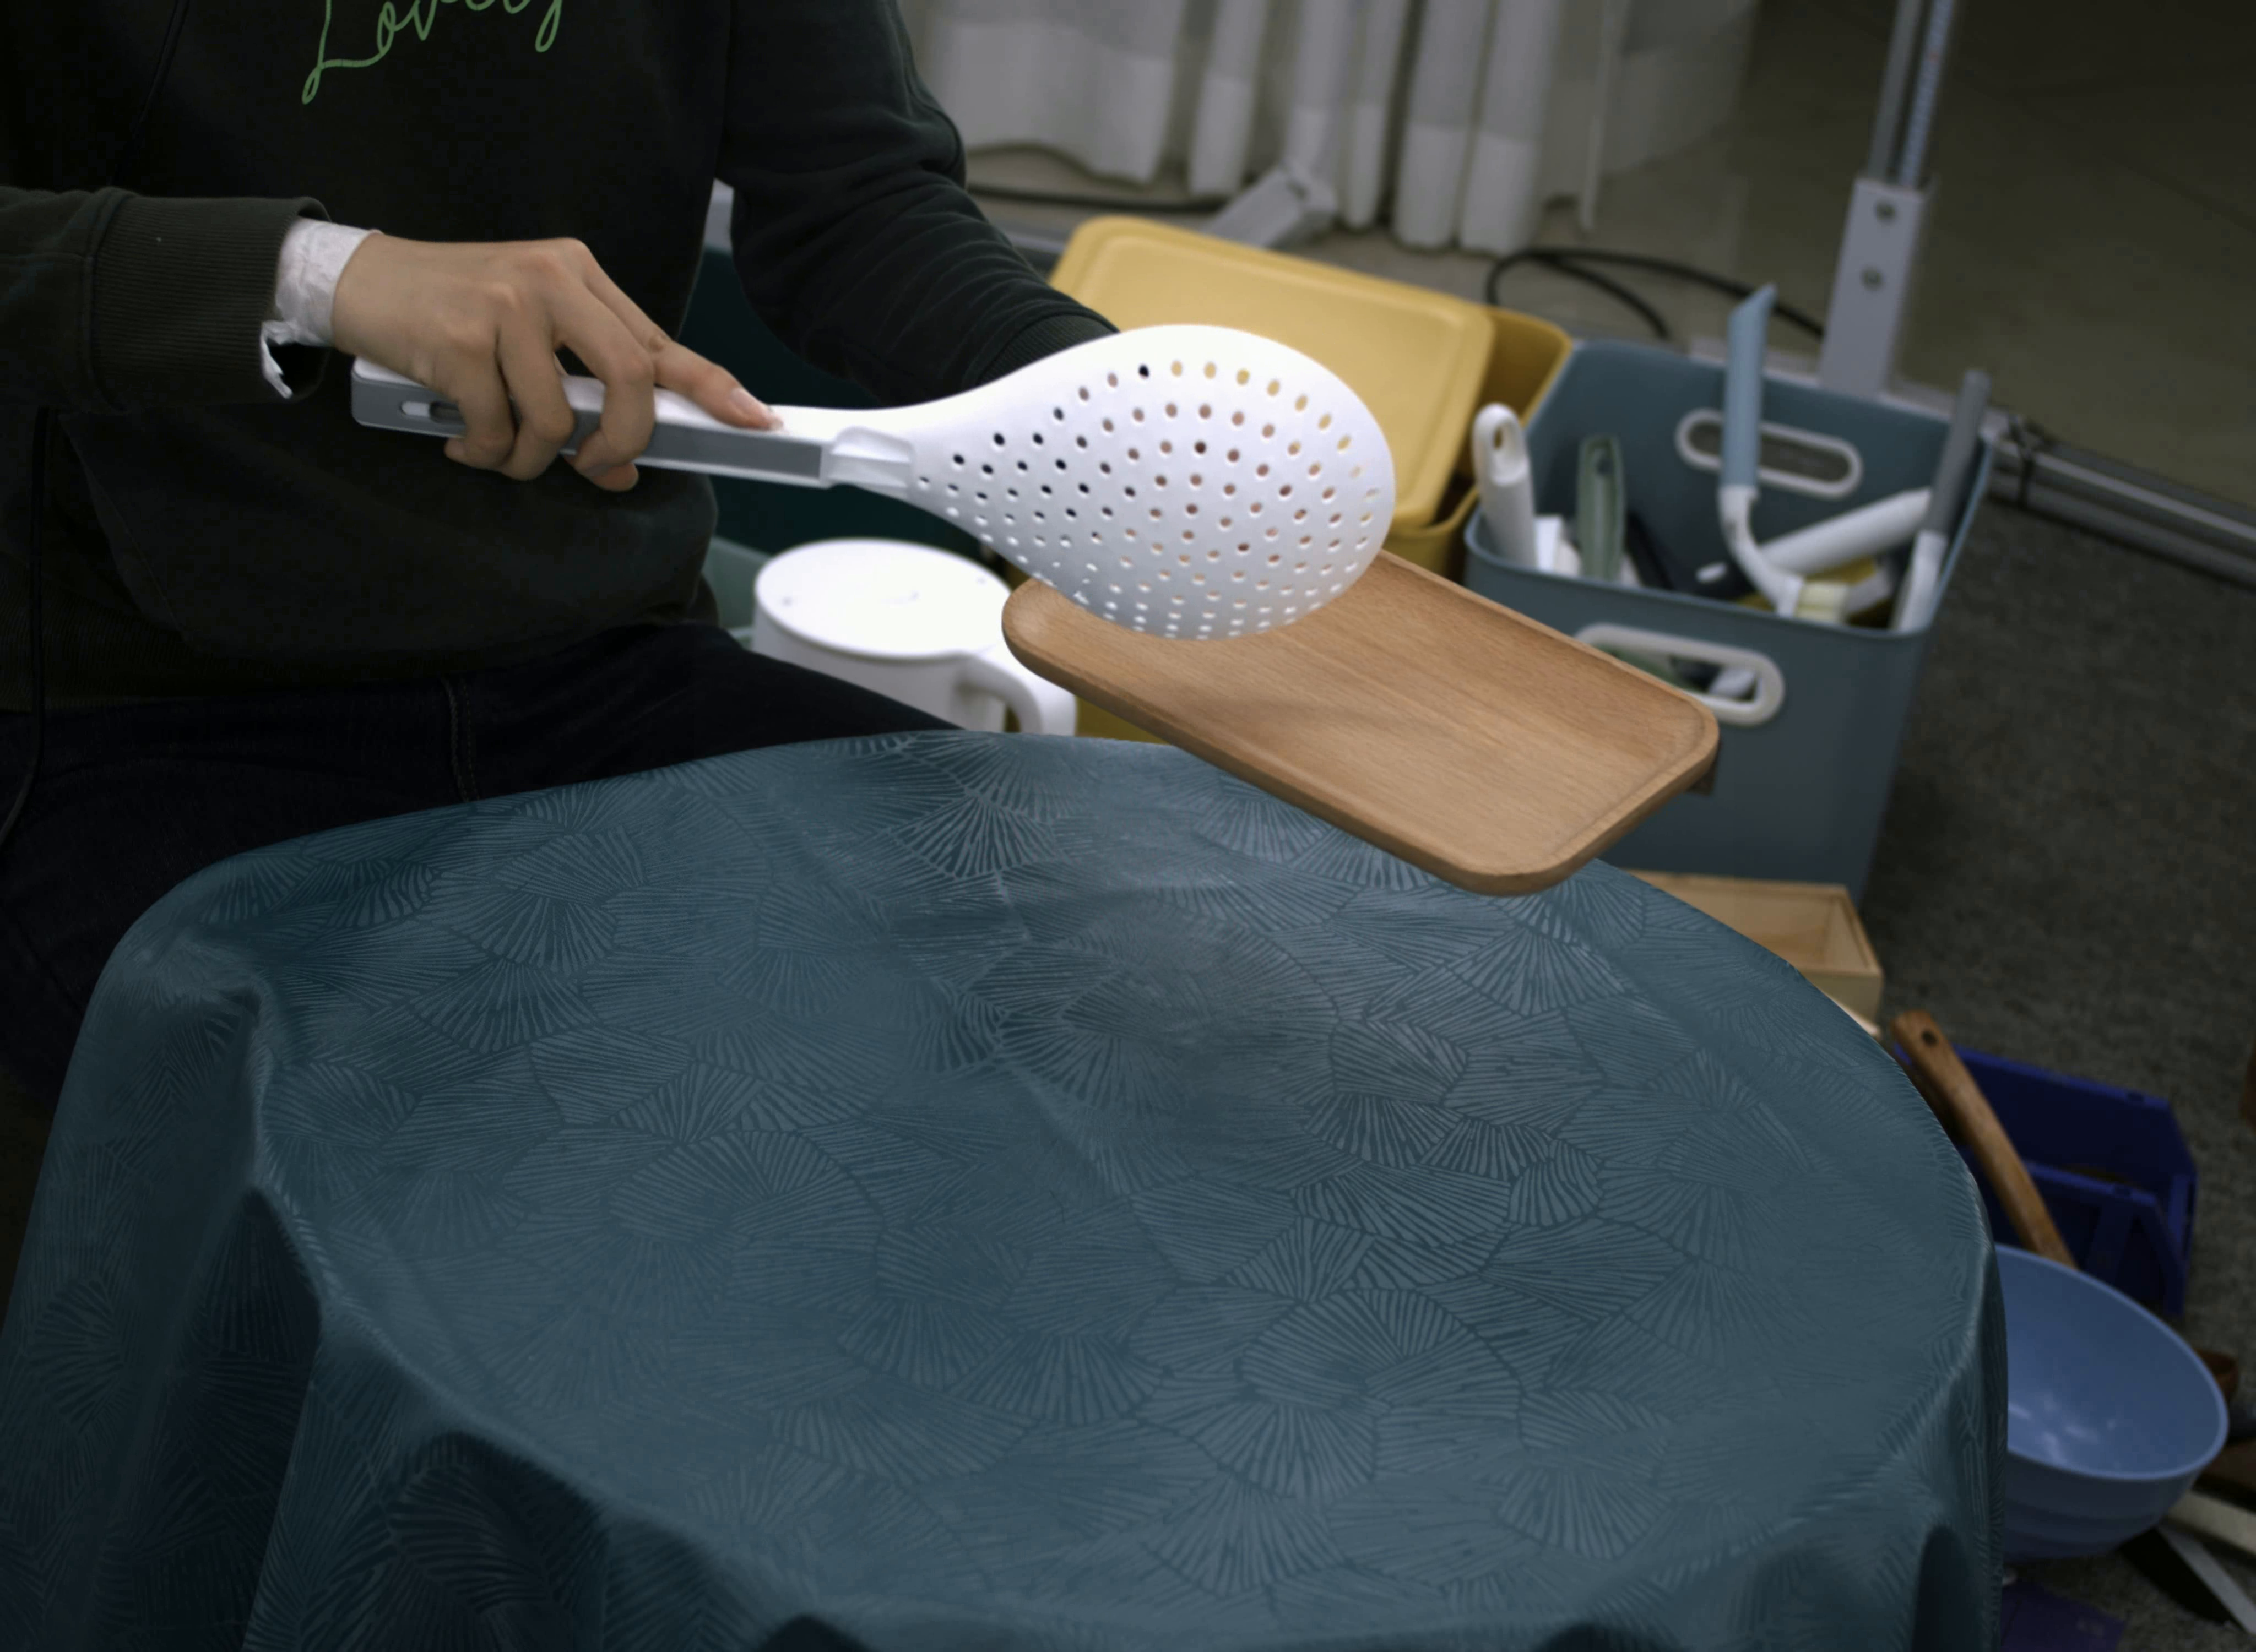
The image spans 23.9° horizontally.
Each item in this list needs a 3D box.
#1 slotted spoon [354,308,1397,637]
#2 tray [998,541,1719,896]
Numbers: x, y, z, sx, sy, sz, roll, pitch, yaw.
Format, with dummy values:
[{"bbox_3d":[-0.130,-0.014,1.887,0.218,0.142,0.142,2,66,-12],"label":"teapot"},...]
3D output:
[{"bbox_3d":[-0.085,-0.127,1.779,0.349,0.135,0.046,11,41,4],"label":"slotted spoon"},{"bbox_3d":[0.077,-0.049,1.841,0.252,0.023,0.130,27,44,36],"label":"tray"}]
